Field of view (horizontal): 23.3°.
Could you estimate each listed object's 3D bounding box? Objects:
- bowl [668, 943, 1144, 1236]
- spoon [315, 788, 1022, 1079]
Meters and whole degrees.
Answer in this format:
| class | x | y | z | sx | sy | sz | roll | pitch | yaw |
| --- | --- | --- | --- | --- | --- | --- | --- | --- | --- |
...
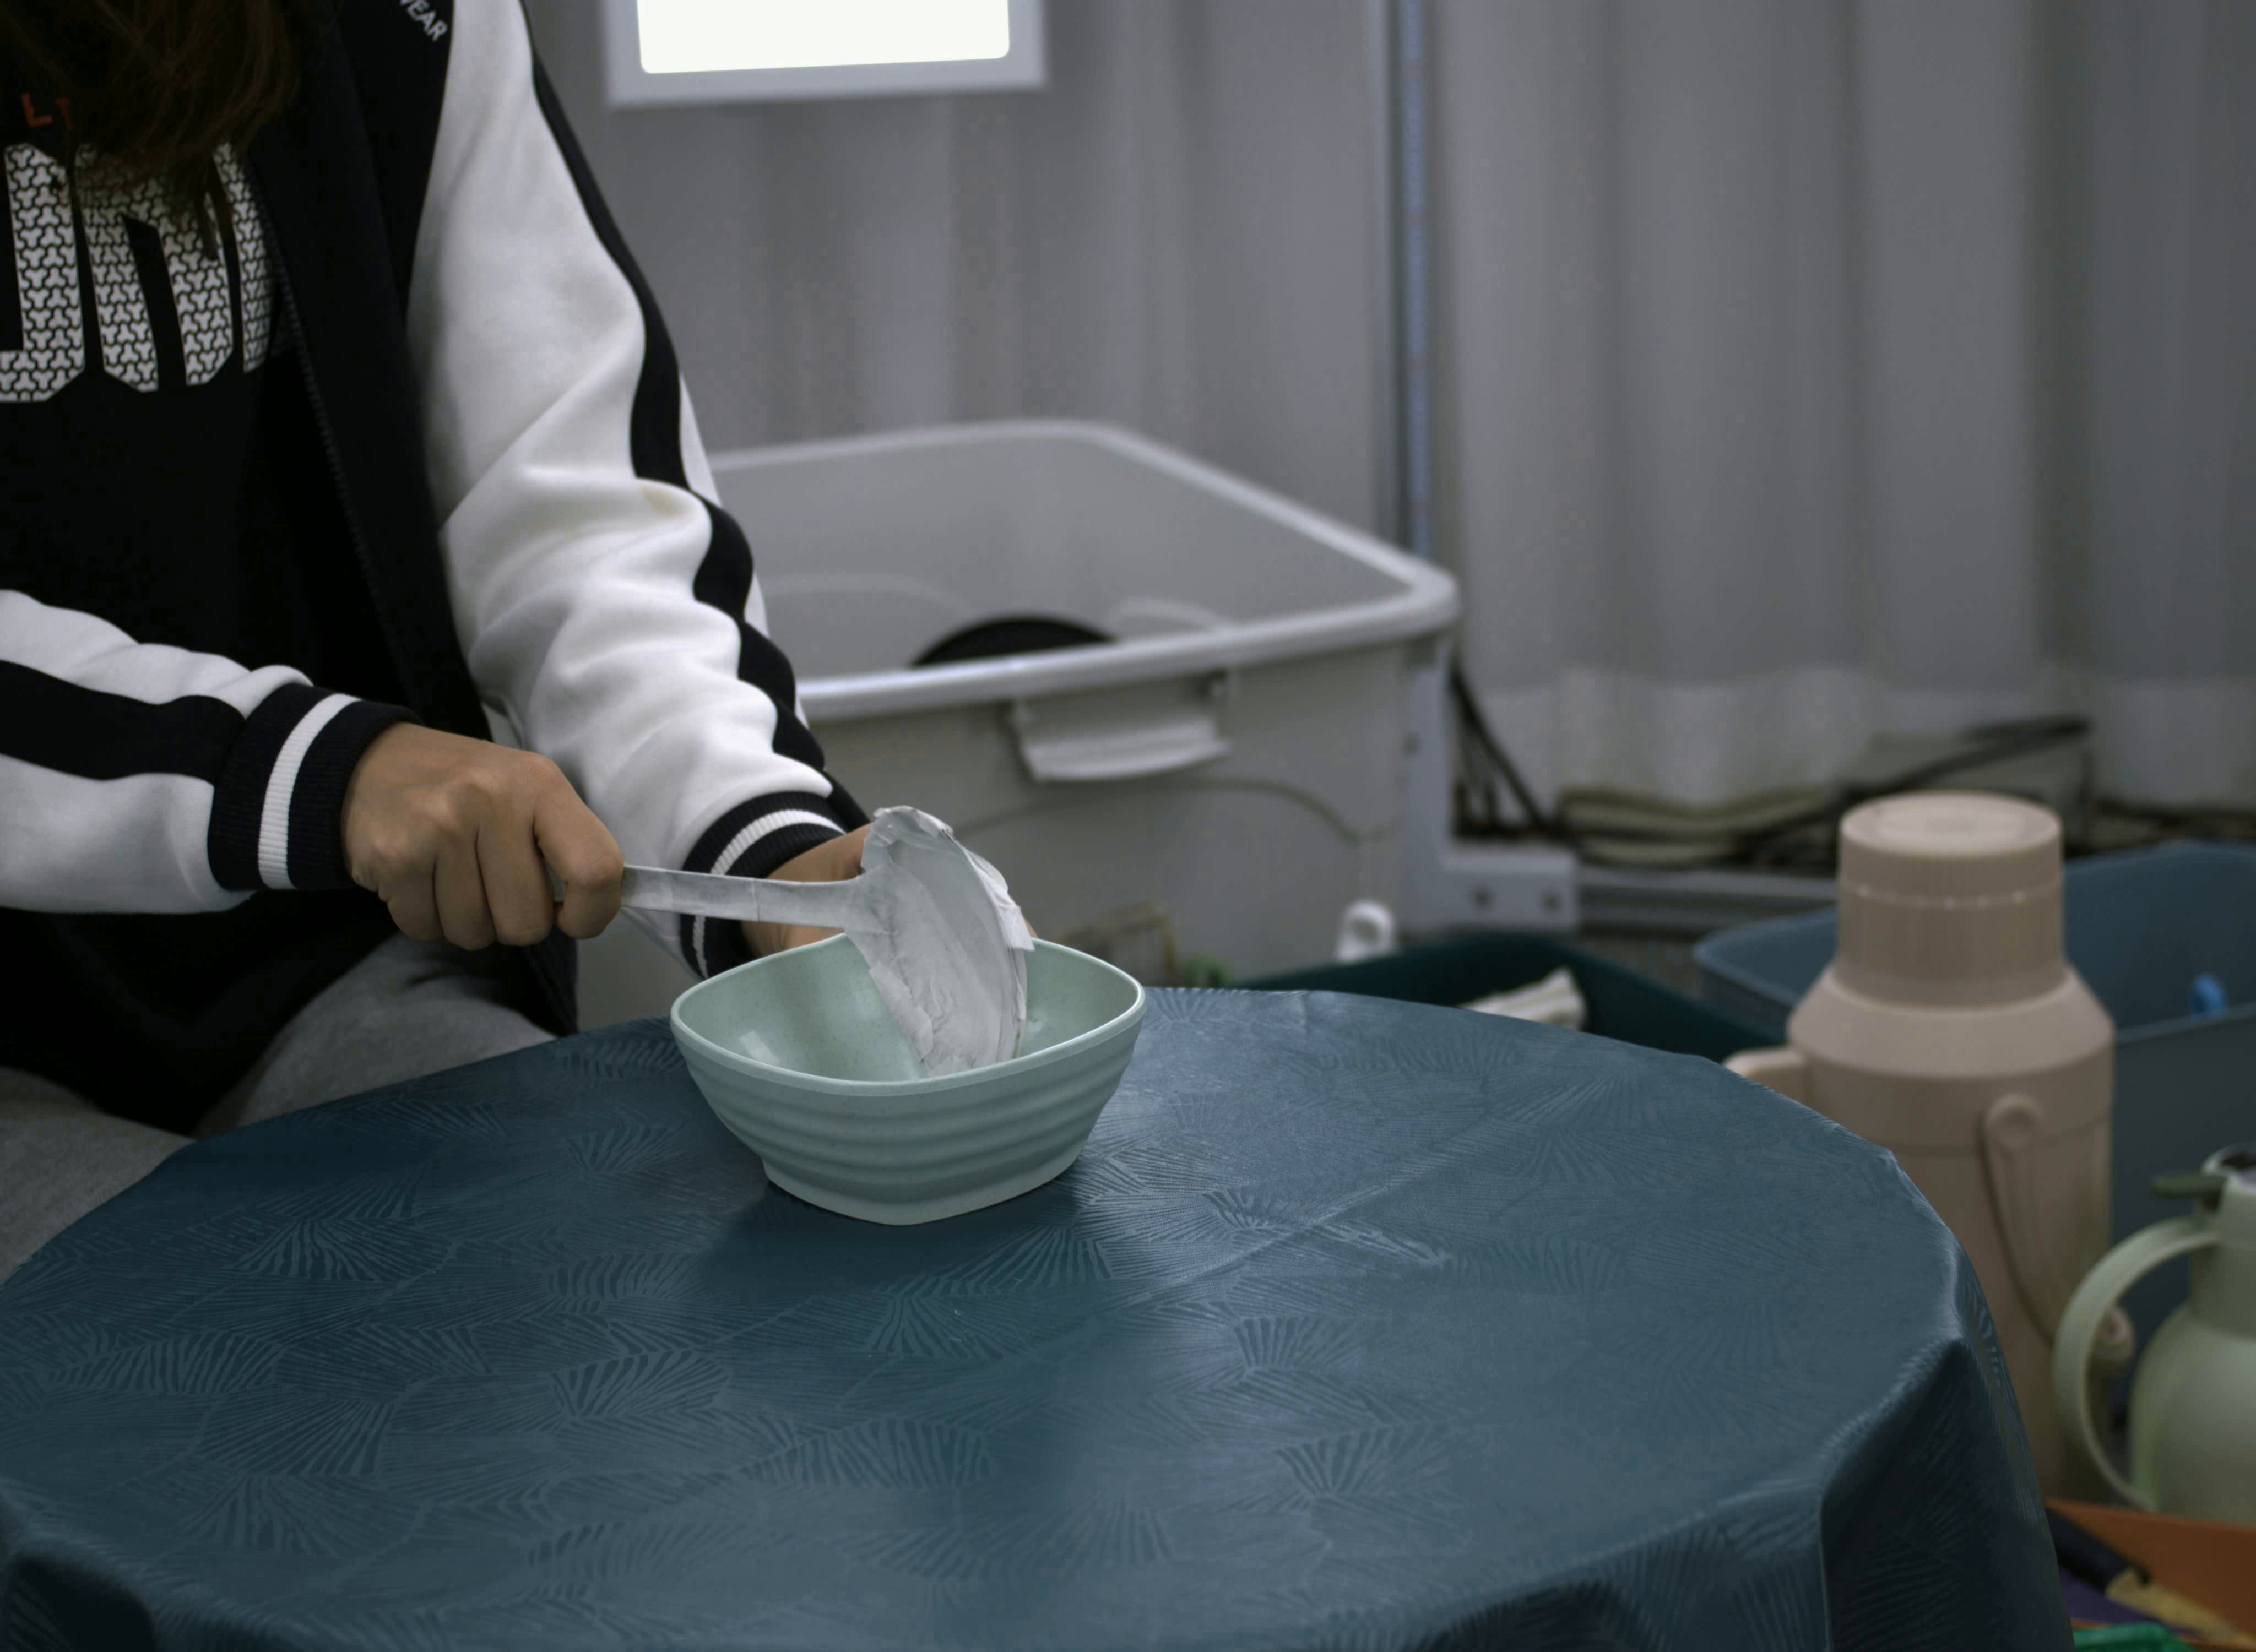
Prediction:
| class | x | y | z | sx | sy | sz | roll | pitch | yaw |
| --- | --- | --- | --- | --- | --- | --- | --- | --- | --- |
| bowl | -0.069 | 0.086 | 1.732 | 0.151 | 0.058 | 0.152 | -2 | 17 | 0 |
| spoon | -0.152 | 0.021 | 1.746 | 0.278 | 0.100 | 0.059 | 8 | 19 | 22 |
